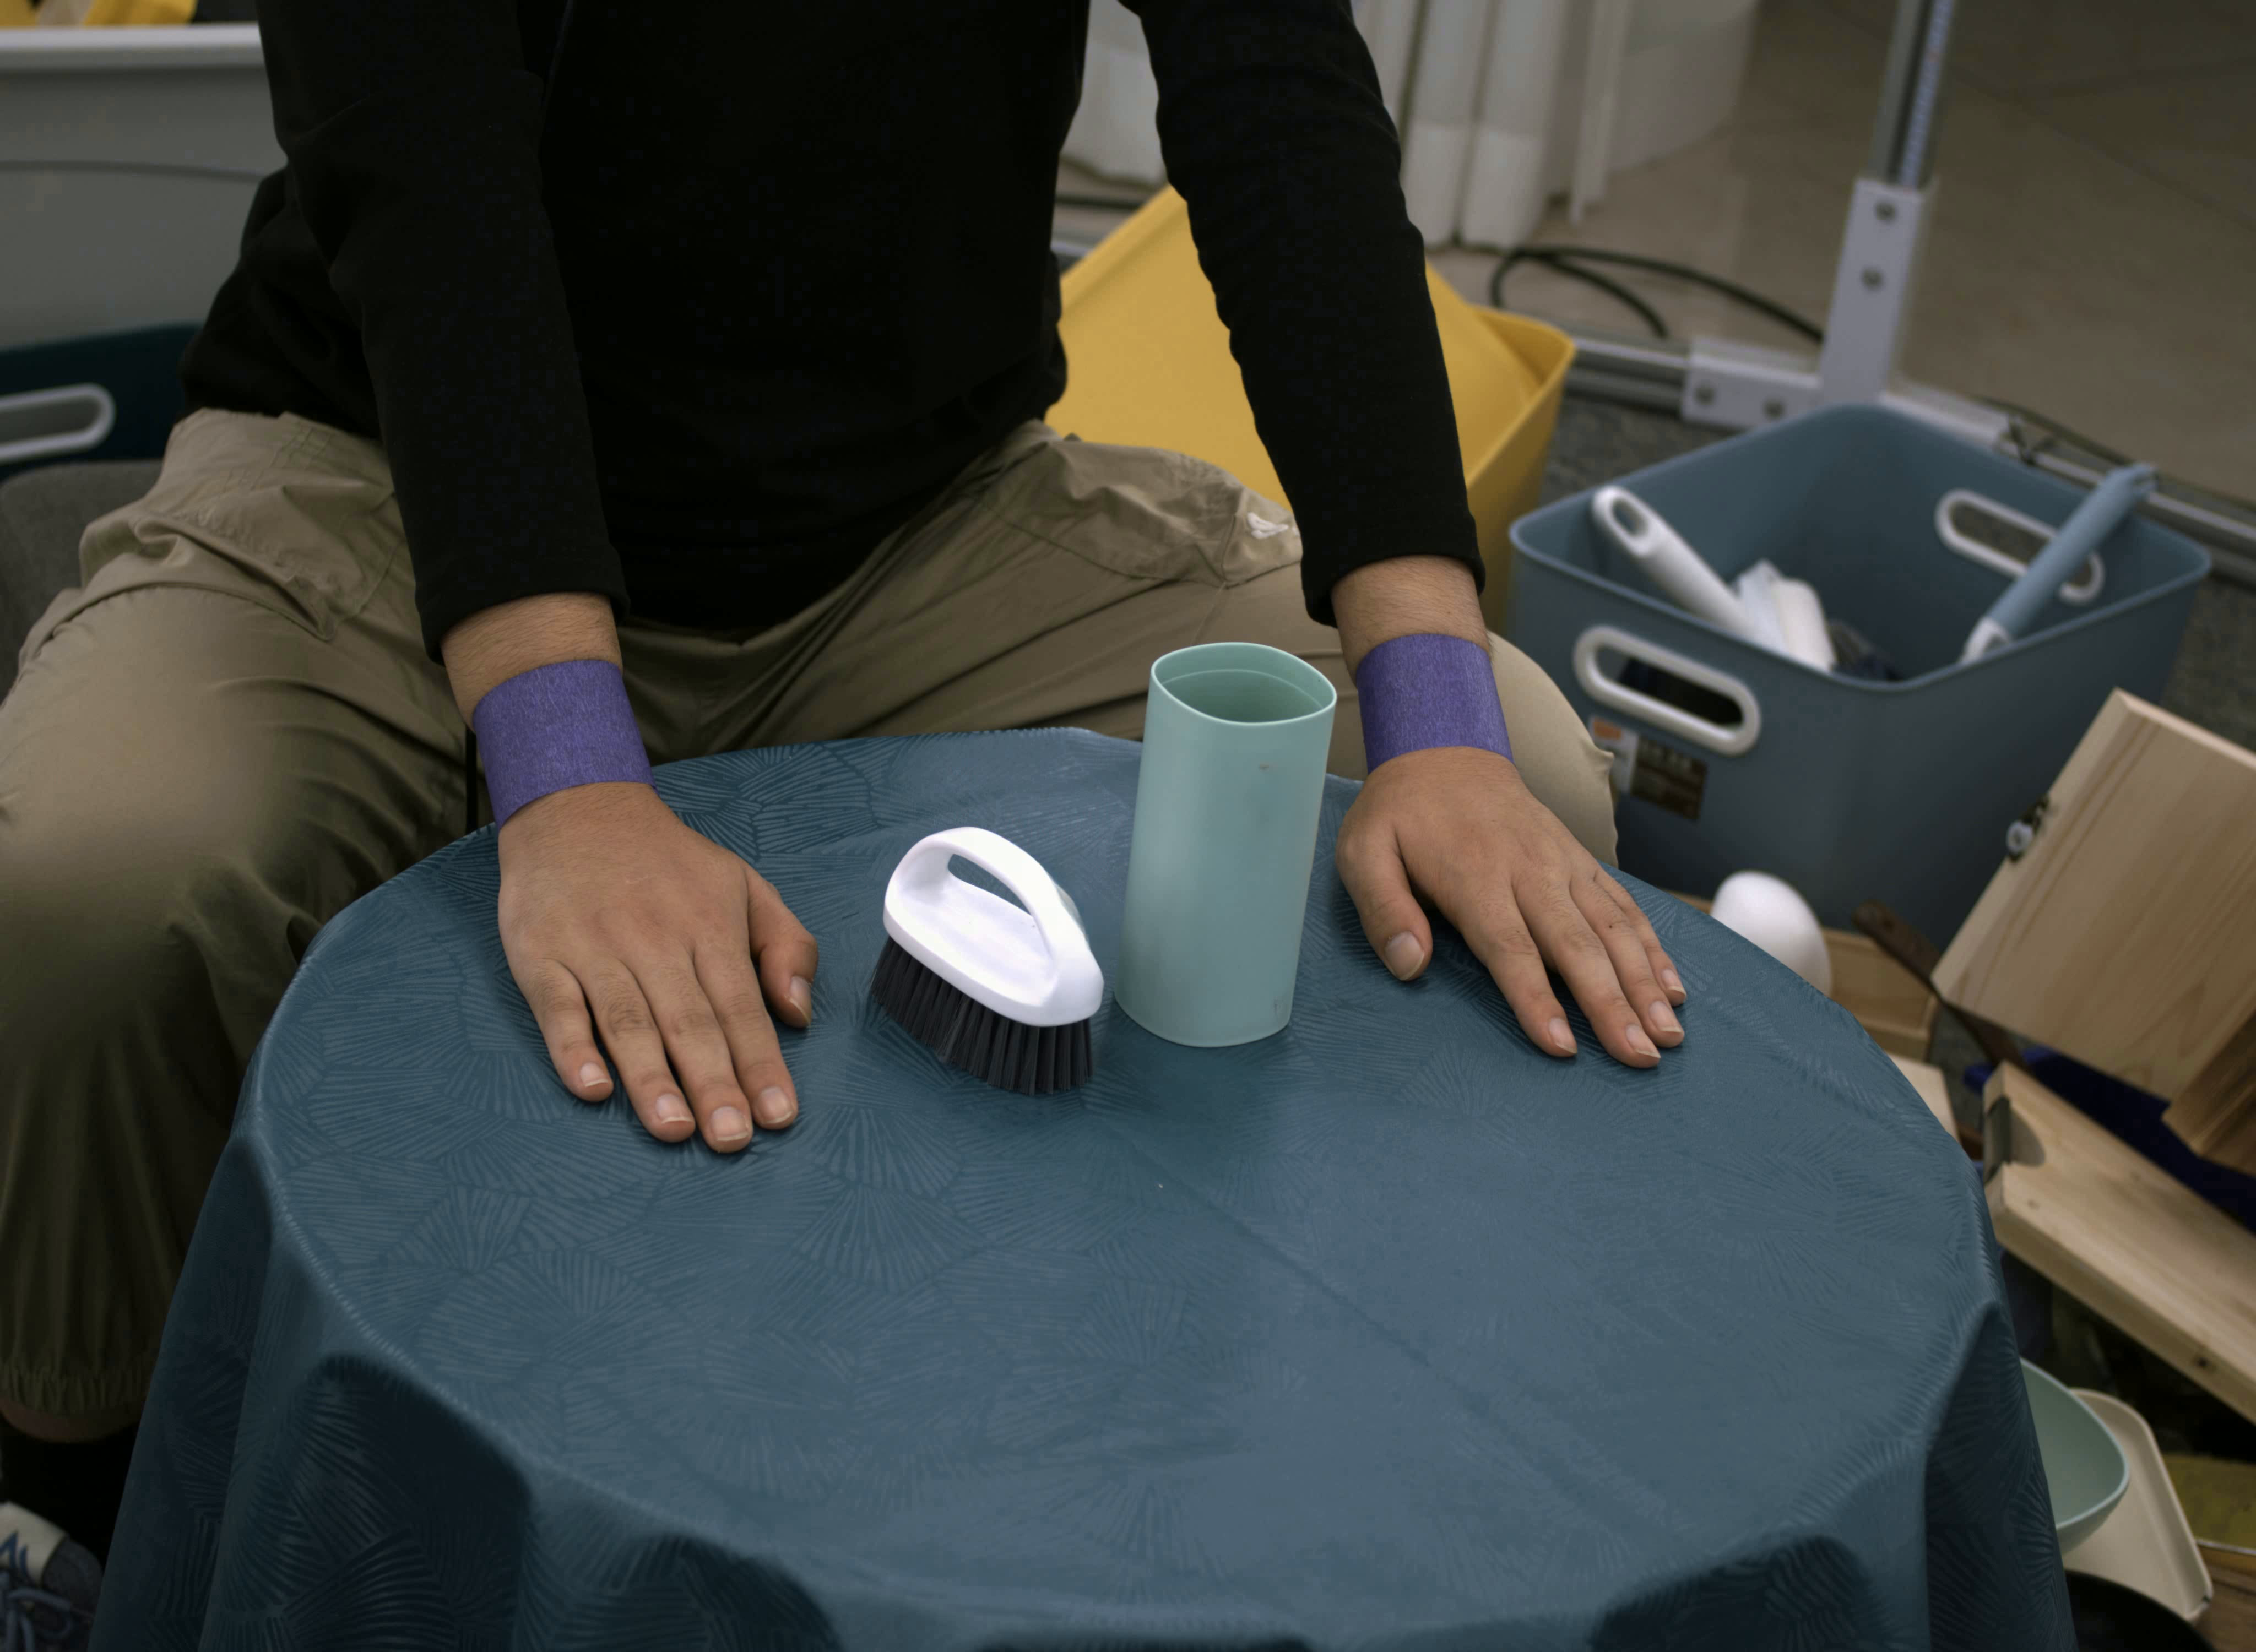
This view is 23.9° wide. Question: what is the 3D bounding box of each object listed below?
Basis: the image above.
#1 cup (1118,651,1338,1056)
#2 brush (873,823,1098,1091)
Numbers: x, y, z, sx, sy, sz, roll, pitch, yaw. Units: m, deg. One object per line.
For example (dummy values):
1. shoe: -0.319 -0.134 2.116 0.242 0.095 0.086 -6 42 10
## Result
1. cup: 0.033 0.010 1.896 0.066 0.132 0.067 5 27 -3
2. brush: -0.049 0.039 1.873 0.050 0.072 0.100 -12 33 -36
